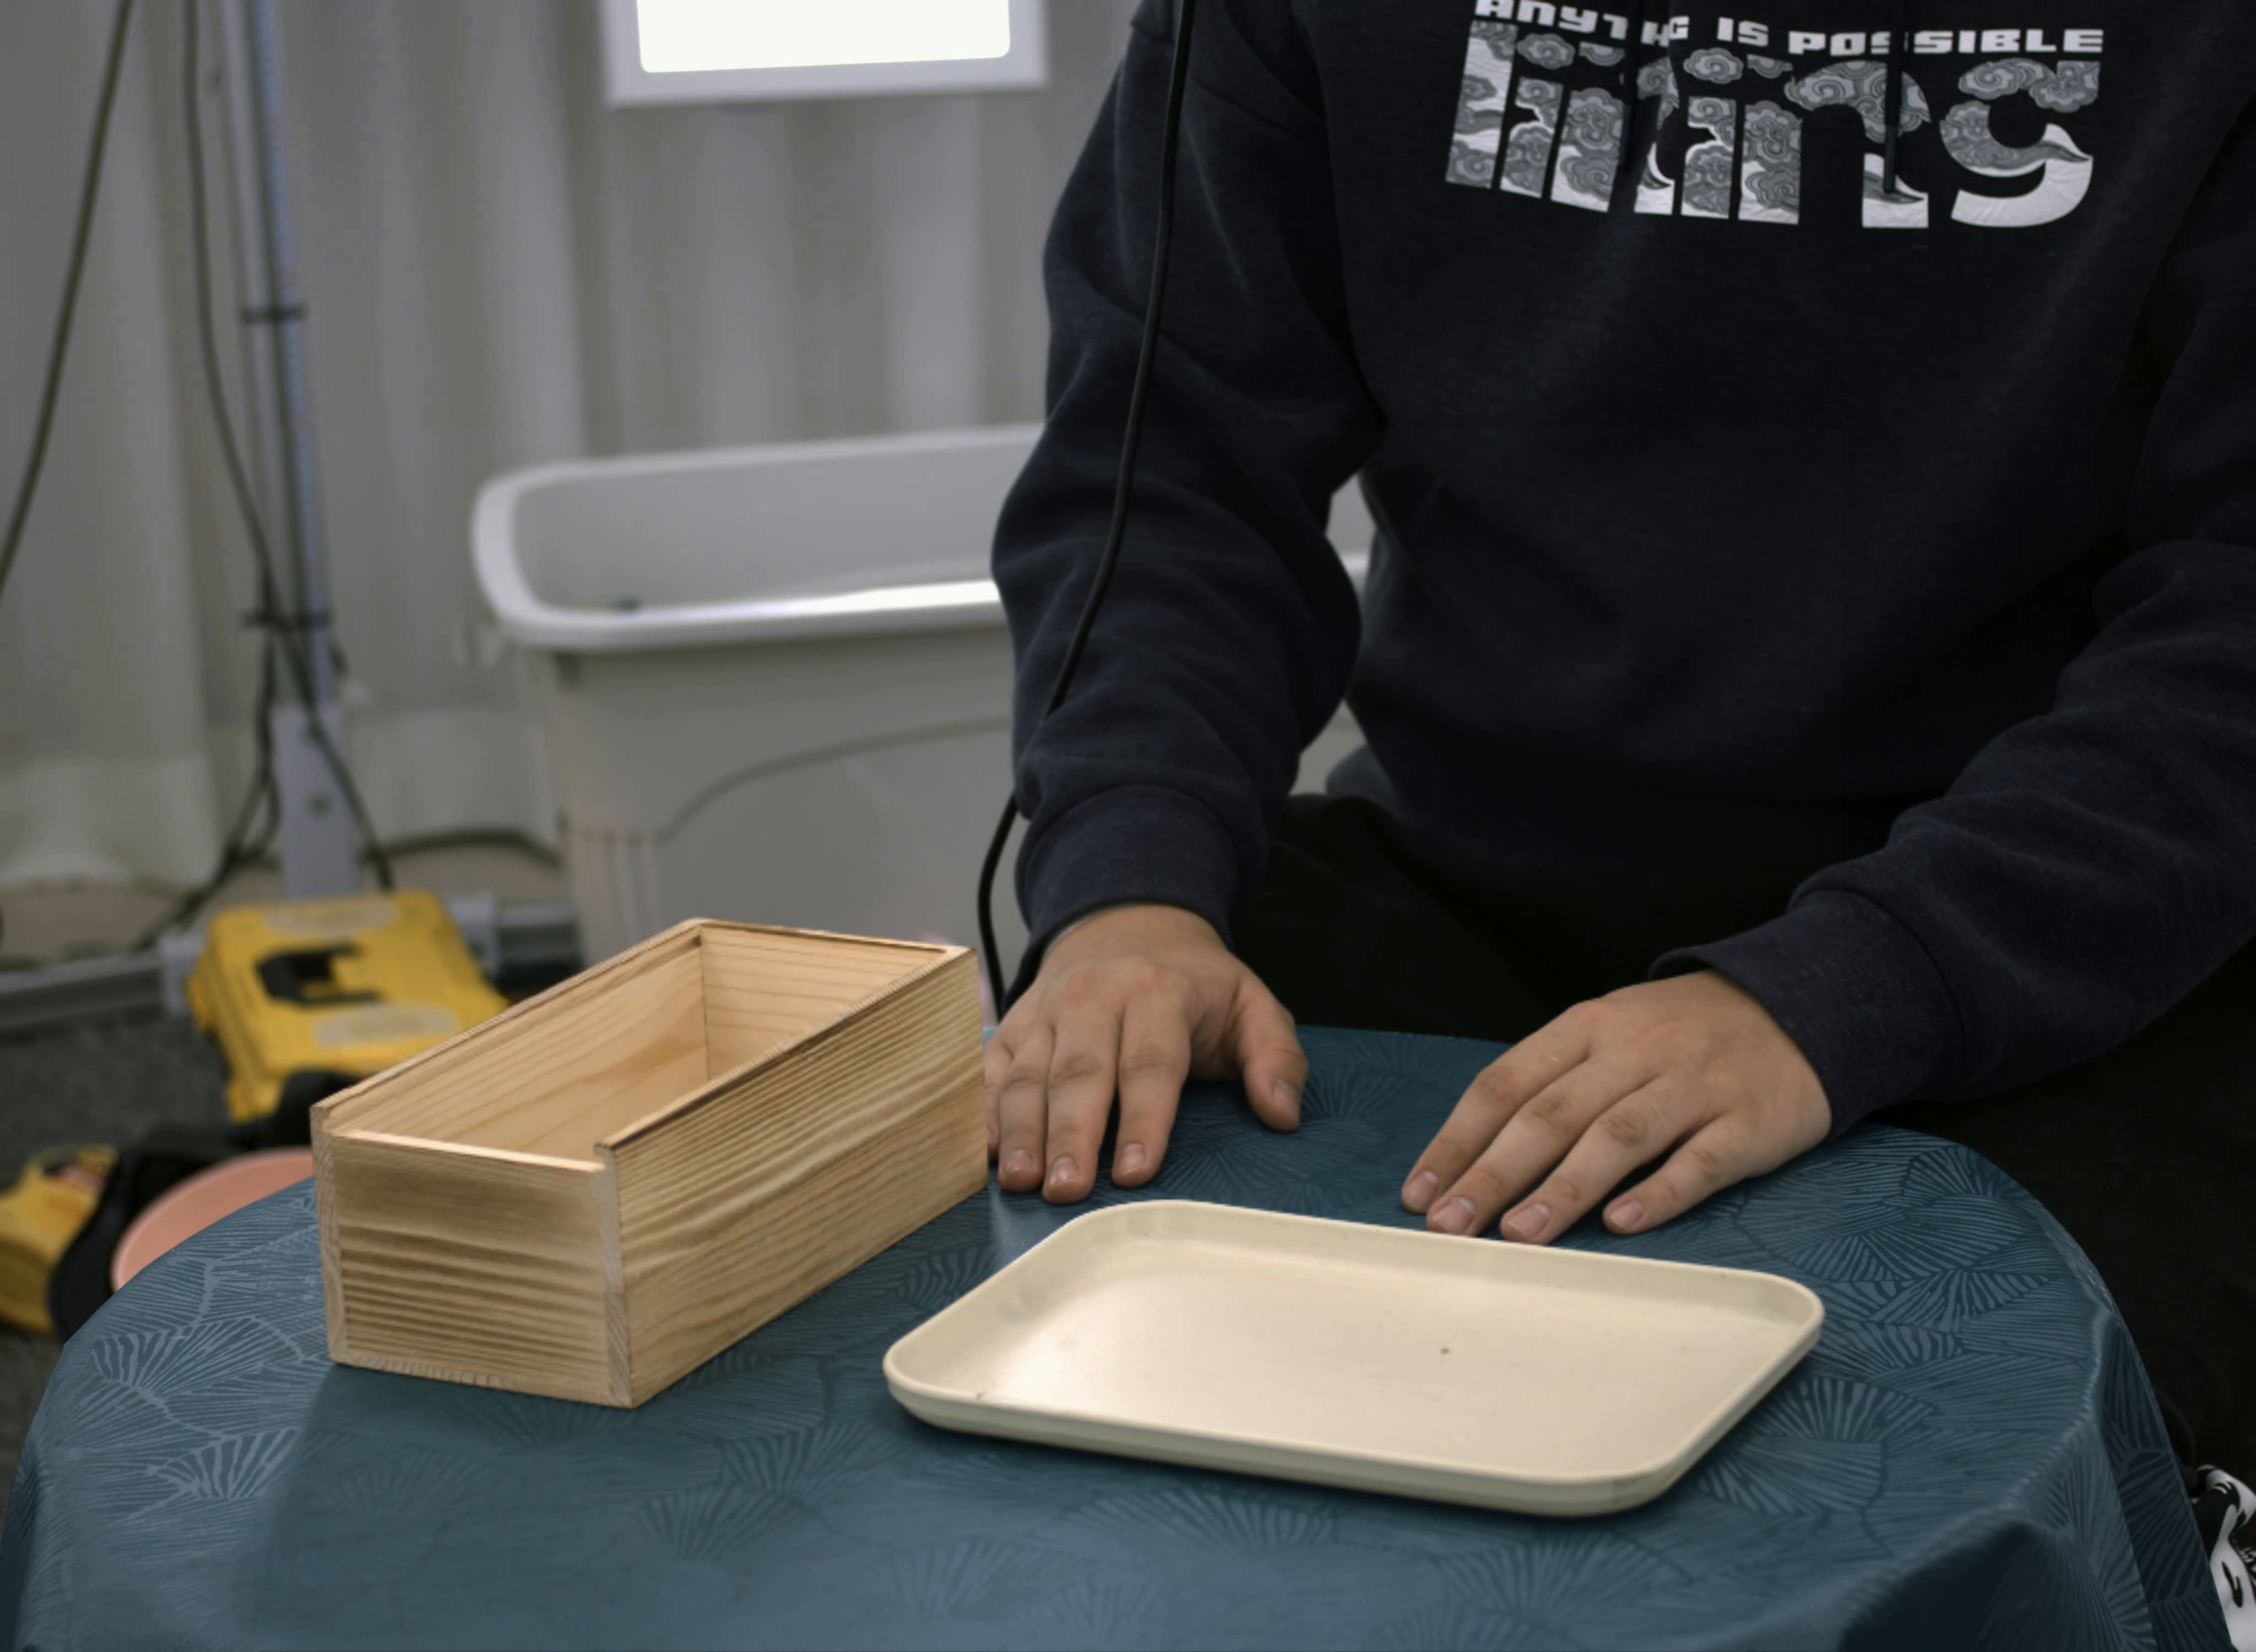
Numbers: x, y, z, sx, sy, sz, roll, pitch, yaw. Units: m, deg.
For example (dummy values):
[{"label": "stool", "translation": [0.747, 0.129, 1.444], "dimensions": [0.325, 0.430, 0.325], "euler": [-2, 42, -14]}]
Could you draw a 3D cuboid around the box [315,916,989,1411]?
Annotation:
[{"label": "box", "translation": [-0.139, 0.098, 1.652], "dimensions": [0.108, 0.080, 0.212], "euler": [5, 17, 27]}]

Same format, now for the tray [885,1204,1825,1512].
[{"label": "tray", "translation": [0.065, 0.149, 1.542], "dimensions": [0.240, 0.017, 0.171], "euler": [5, 16, 26]}]
